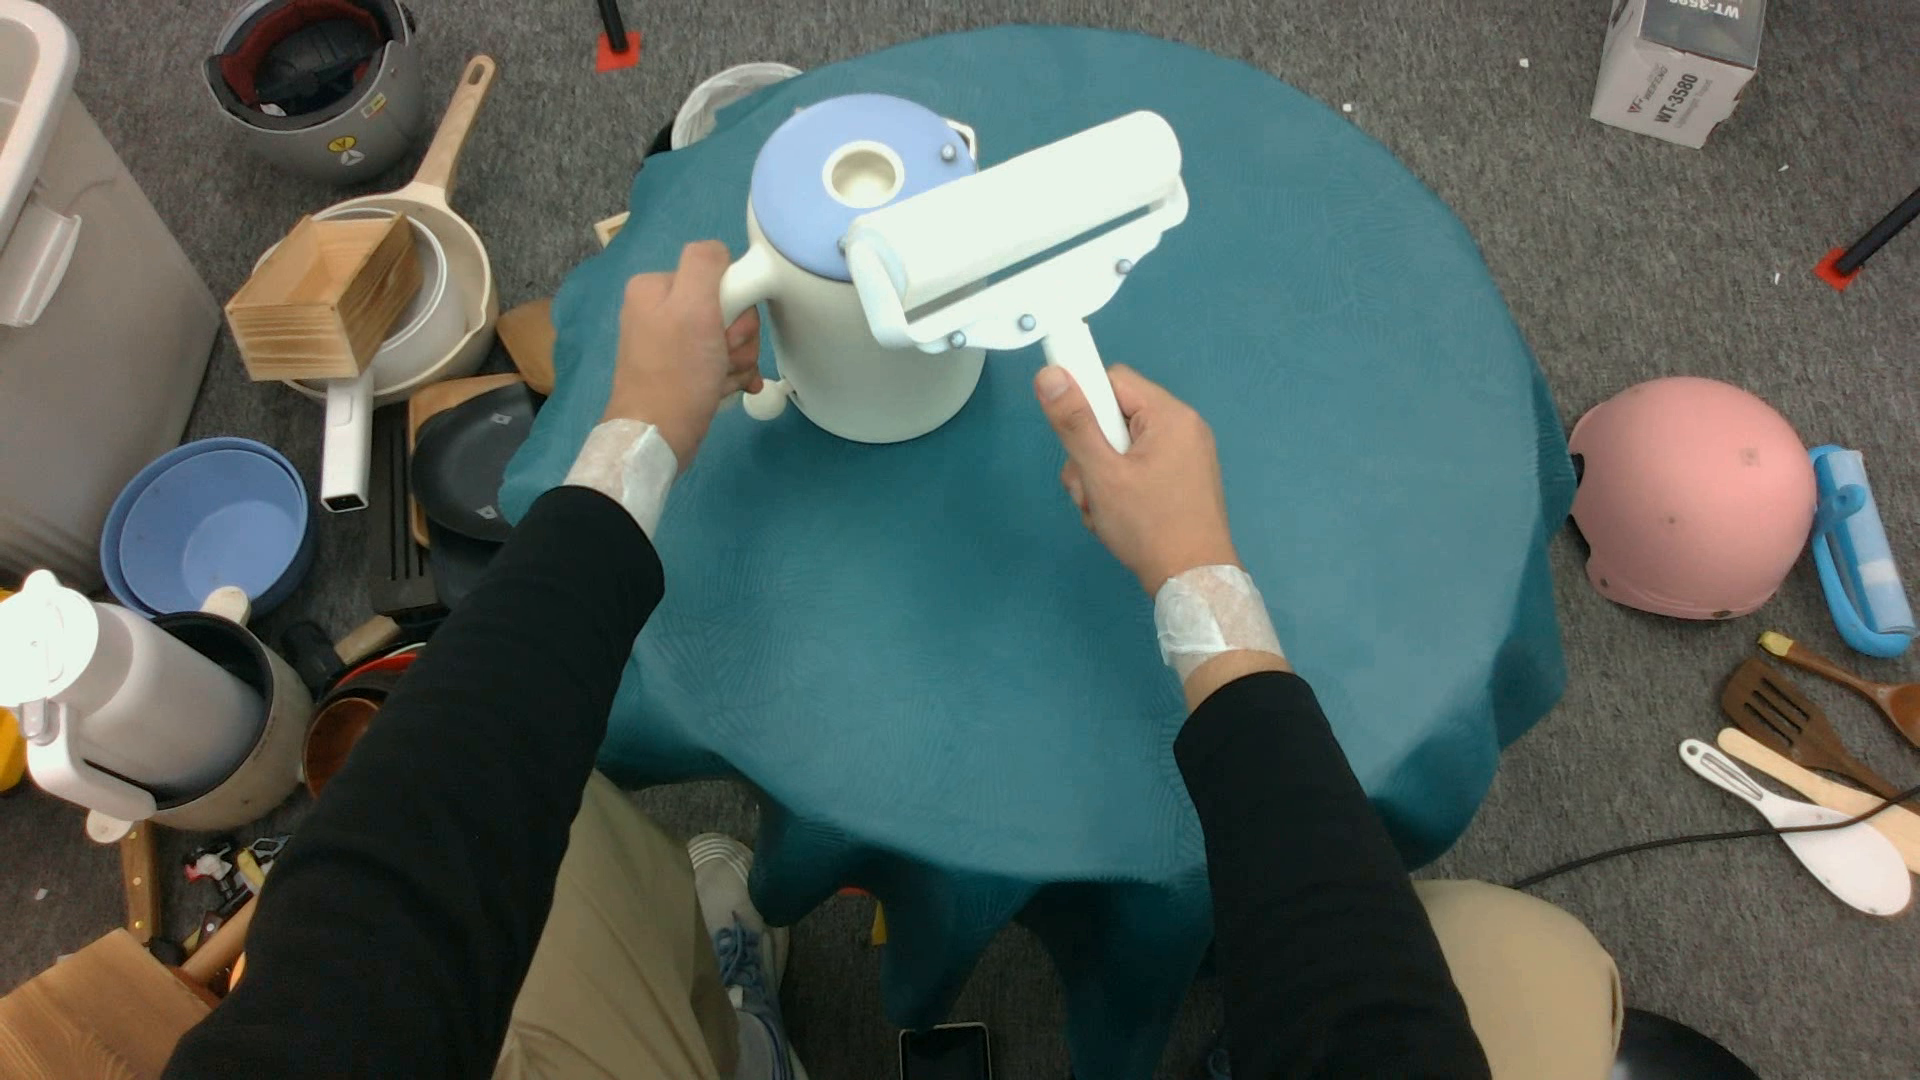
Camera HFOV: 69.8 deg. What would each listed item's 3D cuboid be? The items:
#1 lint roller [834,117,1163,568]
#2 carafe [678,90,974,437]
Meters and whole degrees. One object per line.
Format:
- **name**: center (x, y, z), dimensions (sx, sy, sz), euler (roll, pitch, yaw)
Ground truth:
- **lint roller**: center (0.059, -0.087, 0.708), dimensions (0.204, 0.048, 0.225), euler (-34, 102, -35)
- **carafe**: center (-0.076, -0.140, 0.785), dimensions (0.191, 0.182, 0.132), euler (-34, 69, -12)
